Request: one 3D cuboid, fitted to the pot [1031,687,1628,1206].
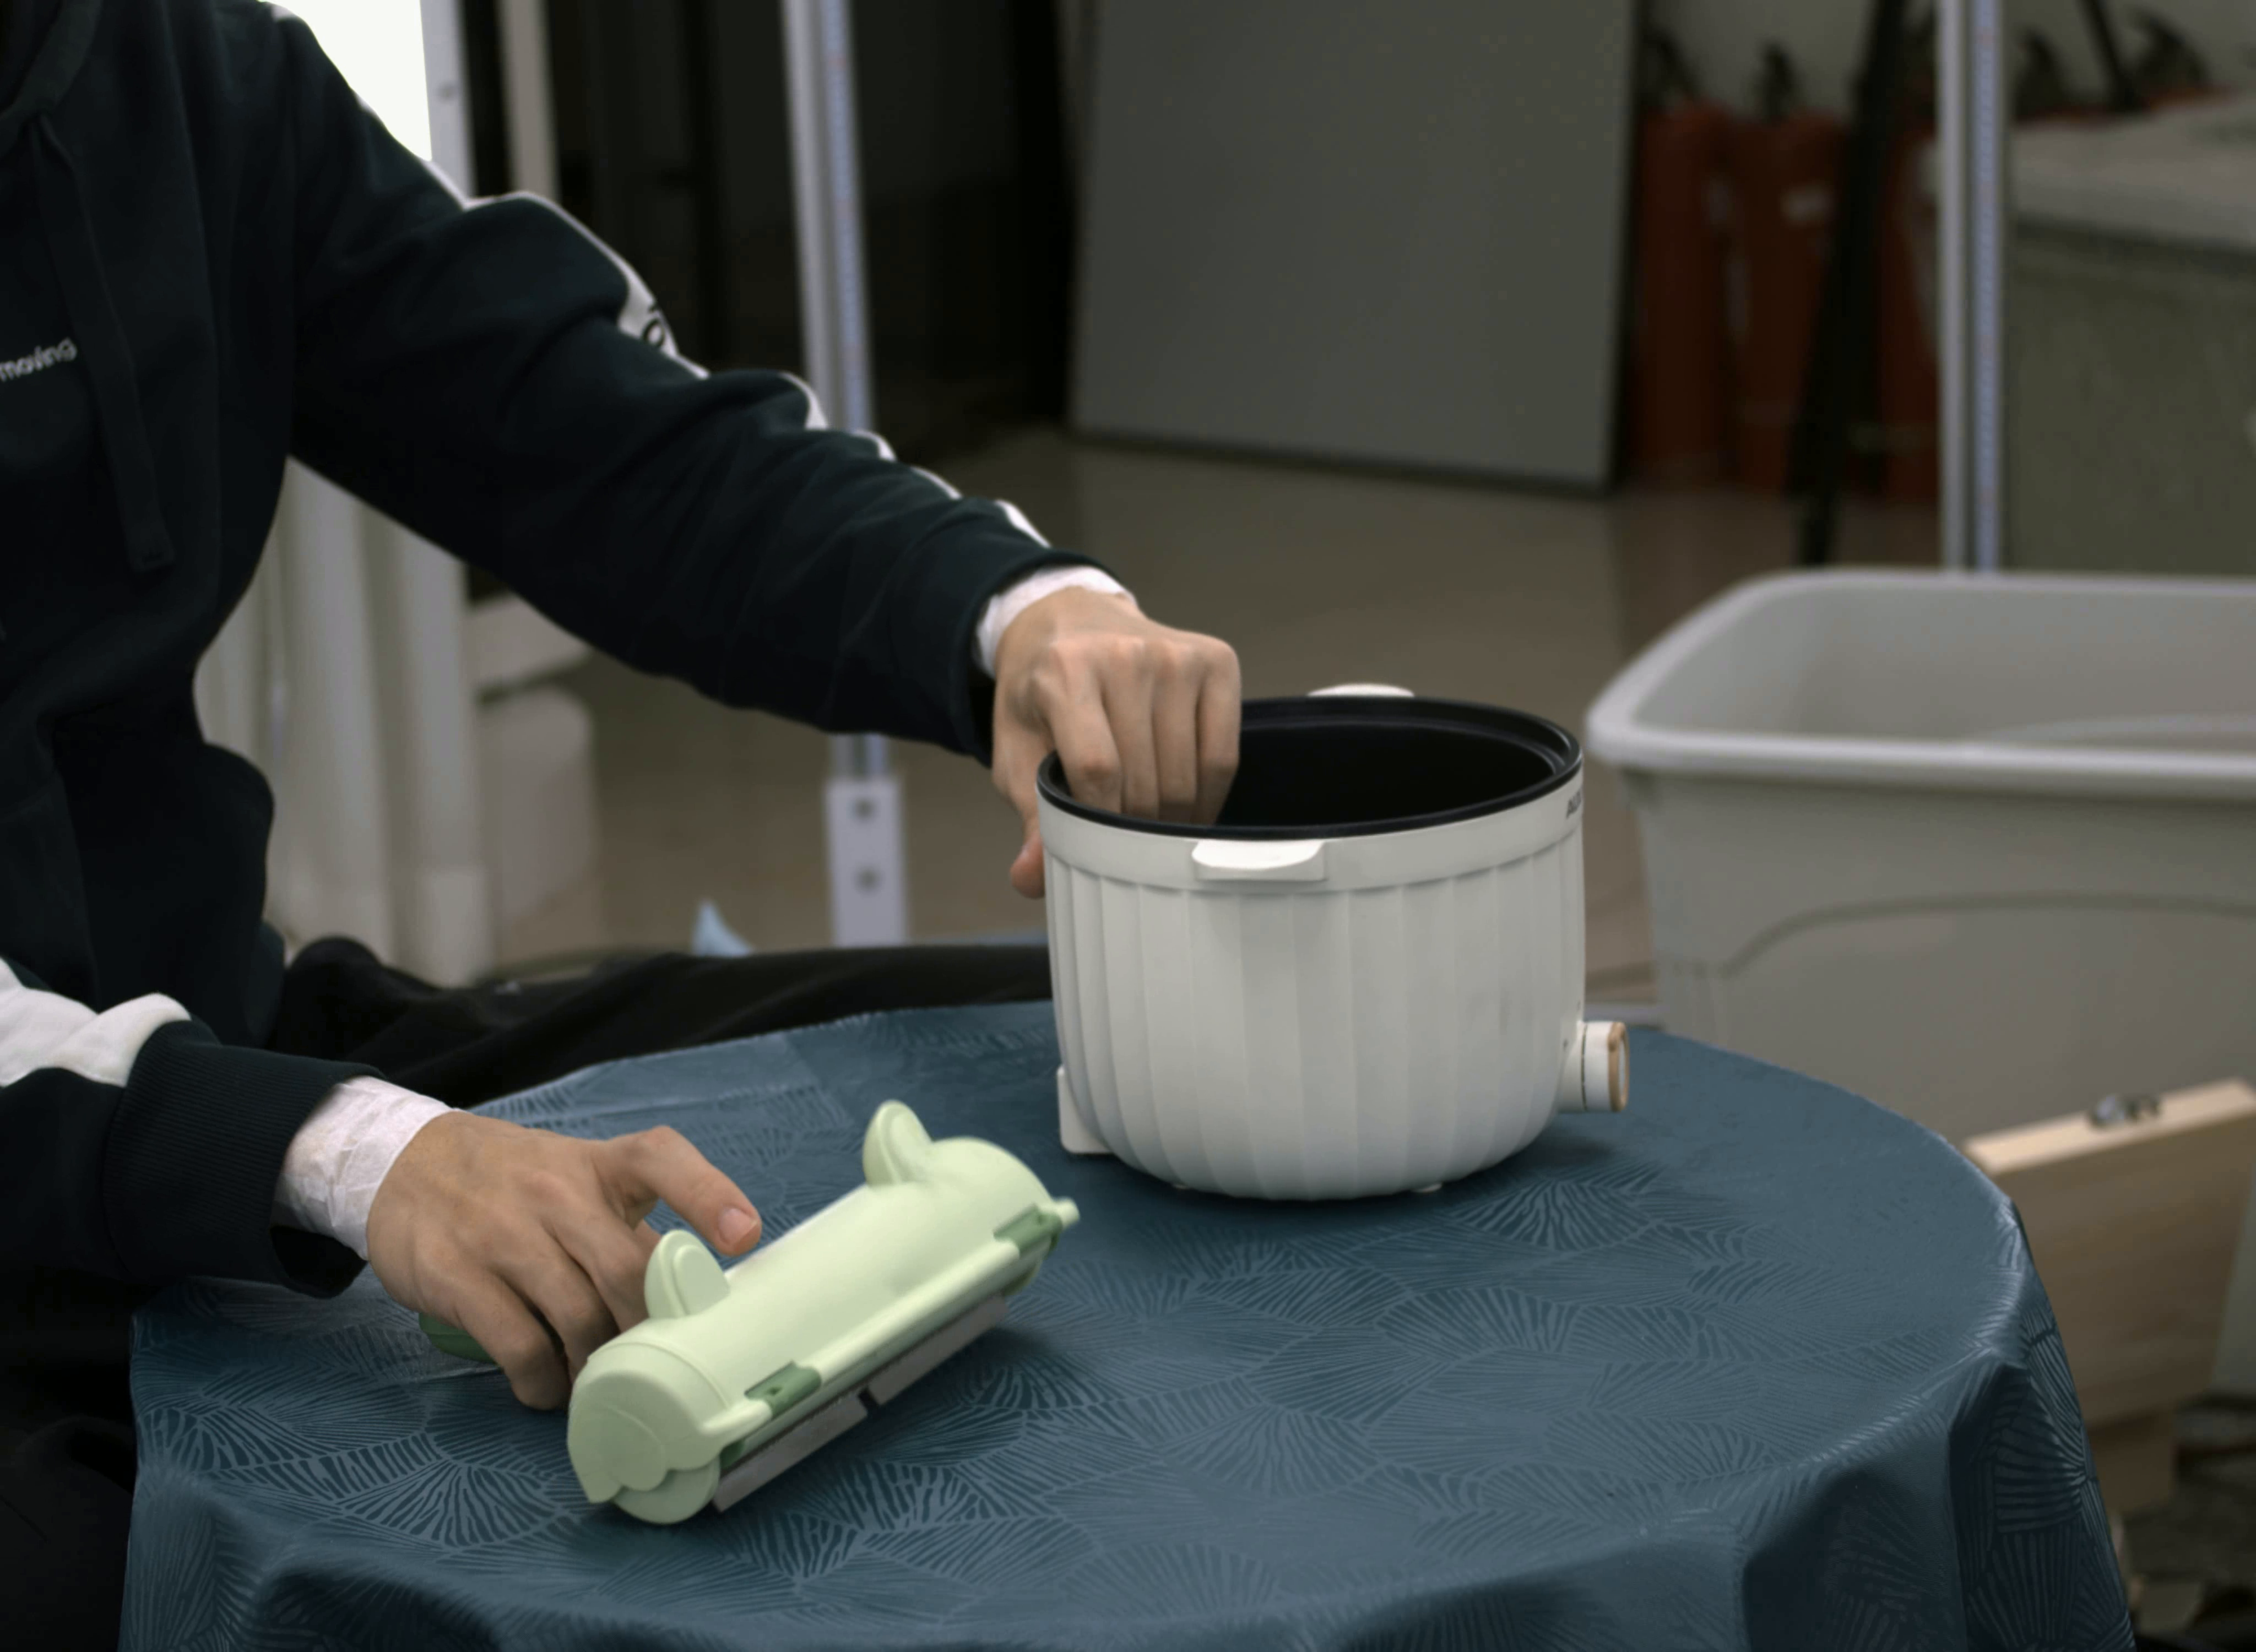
[{"bbox_3d":[0.068,0.042,1.784,0.189,0.144,0.239,-4,14,13],"label":"pot"}]

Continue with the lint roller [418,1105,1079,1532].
[{"bbox_3d":[-0.137,0.131,1.599,0.184,0.083,0.195,11,21,30],"label":"lint roller"}]
